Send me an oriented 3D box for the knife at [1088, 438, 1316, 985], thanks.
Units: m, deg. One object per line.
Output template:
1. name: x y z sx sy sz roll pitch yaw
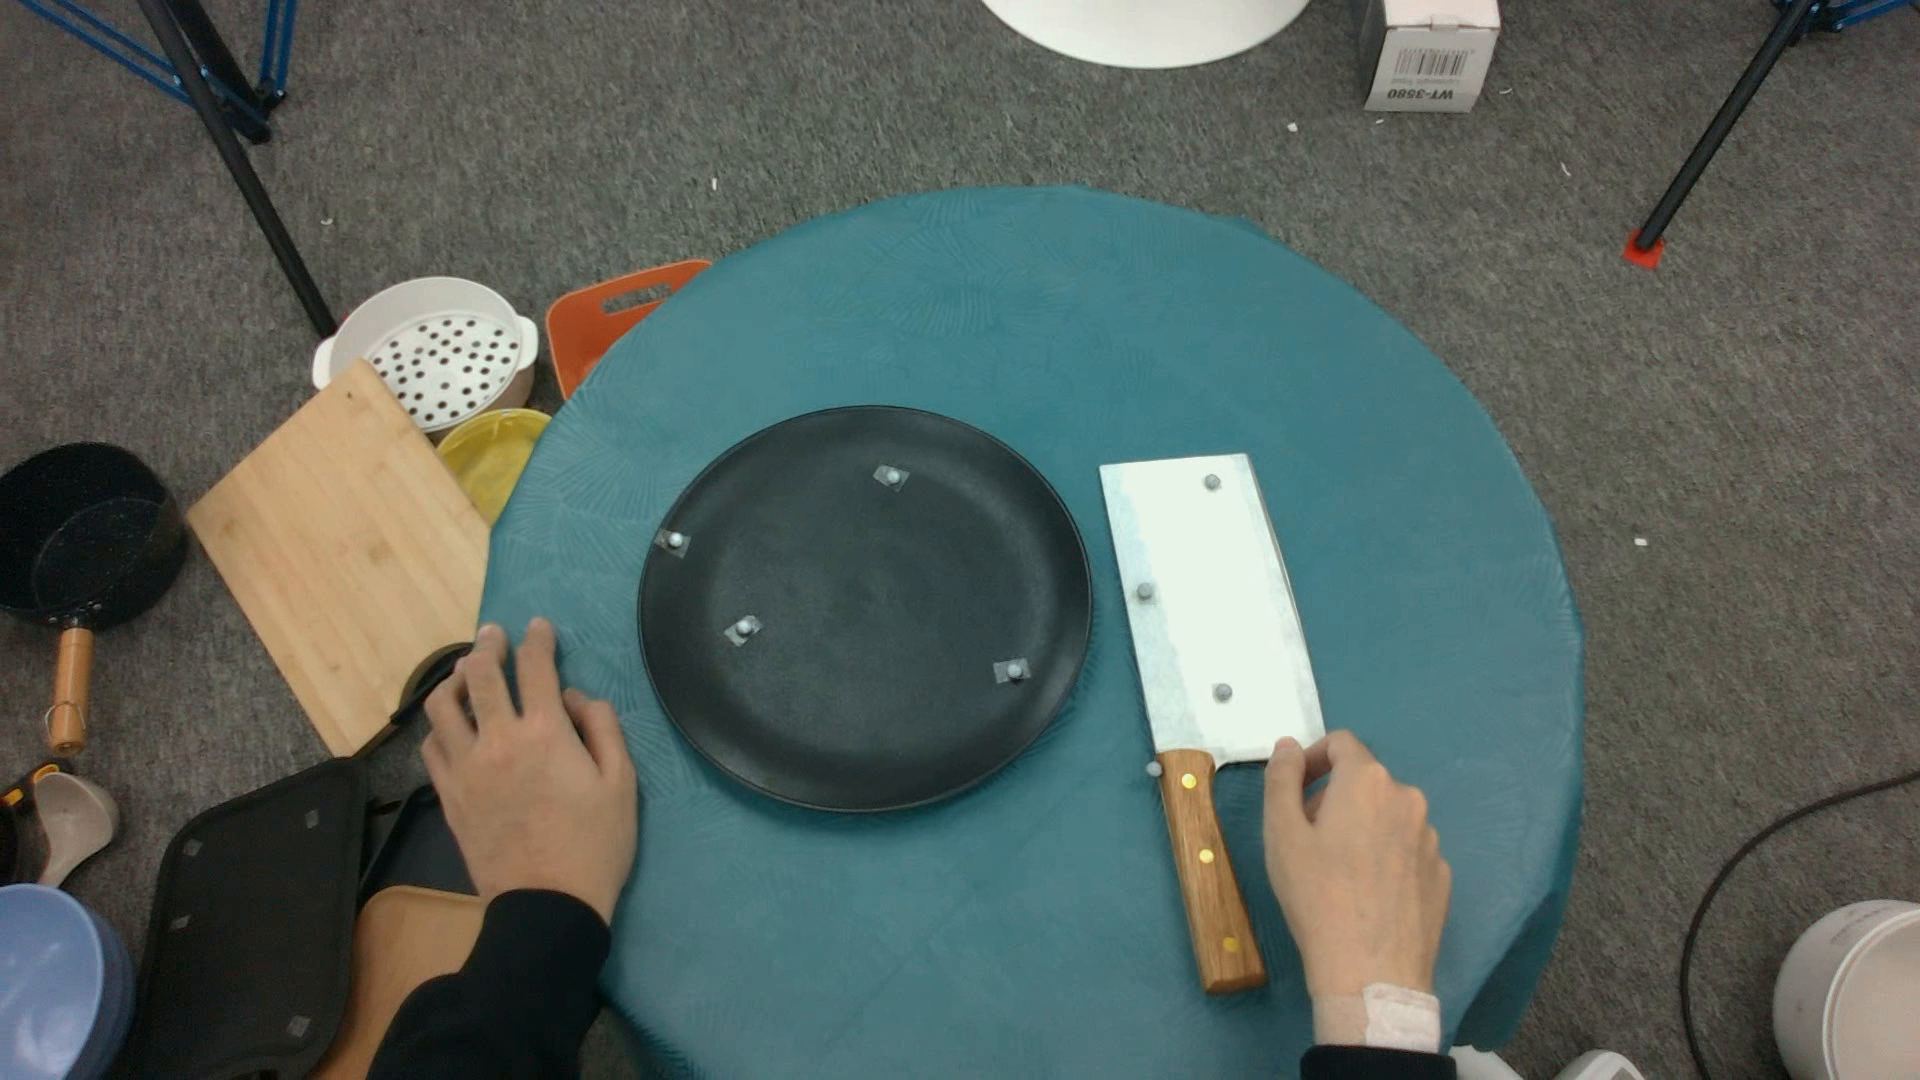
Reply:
1. knife: 0.134 0.073 0.721 0.093 0.021 0.307 -5 59 -5

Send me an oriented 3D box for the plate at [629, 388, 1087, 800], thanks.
1. plate: -0.053 0.024 0.740 0.244 0.023 0.245 1 61 -1
